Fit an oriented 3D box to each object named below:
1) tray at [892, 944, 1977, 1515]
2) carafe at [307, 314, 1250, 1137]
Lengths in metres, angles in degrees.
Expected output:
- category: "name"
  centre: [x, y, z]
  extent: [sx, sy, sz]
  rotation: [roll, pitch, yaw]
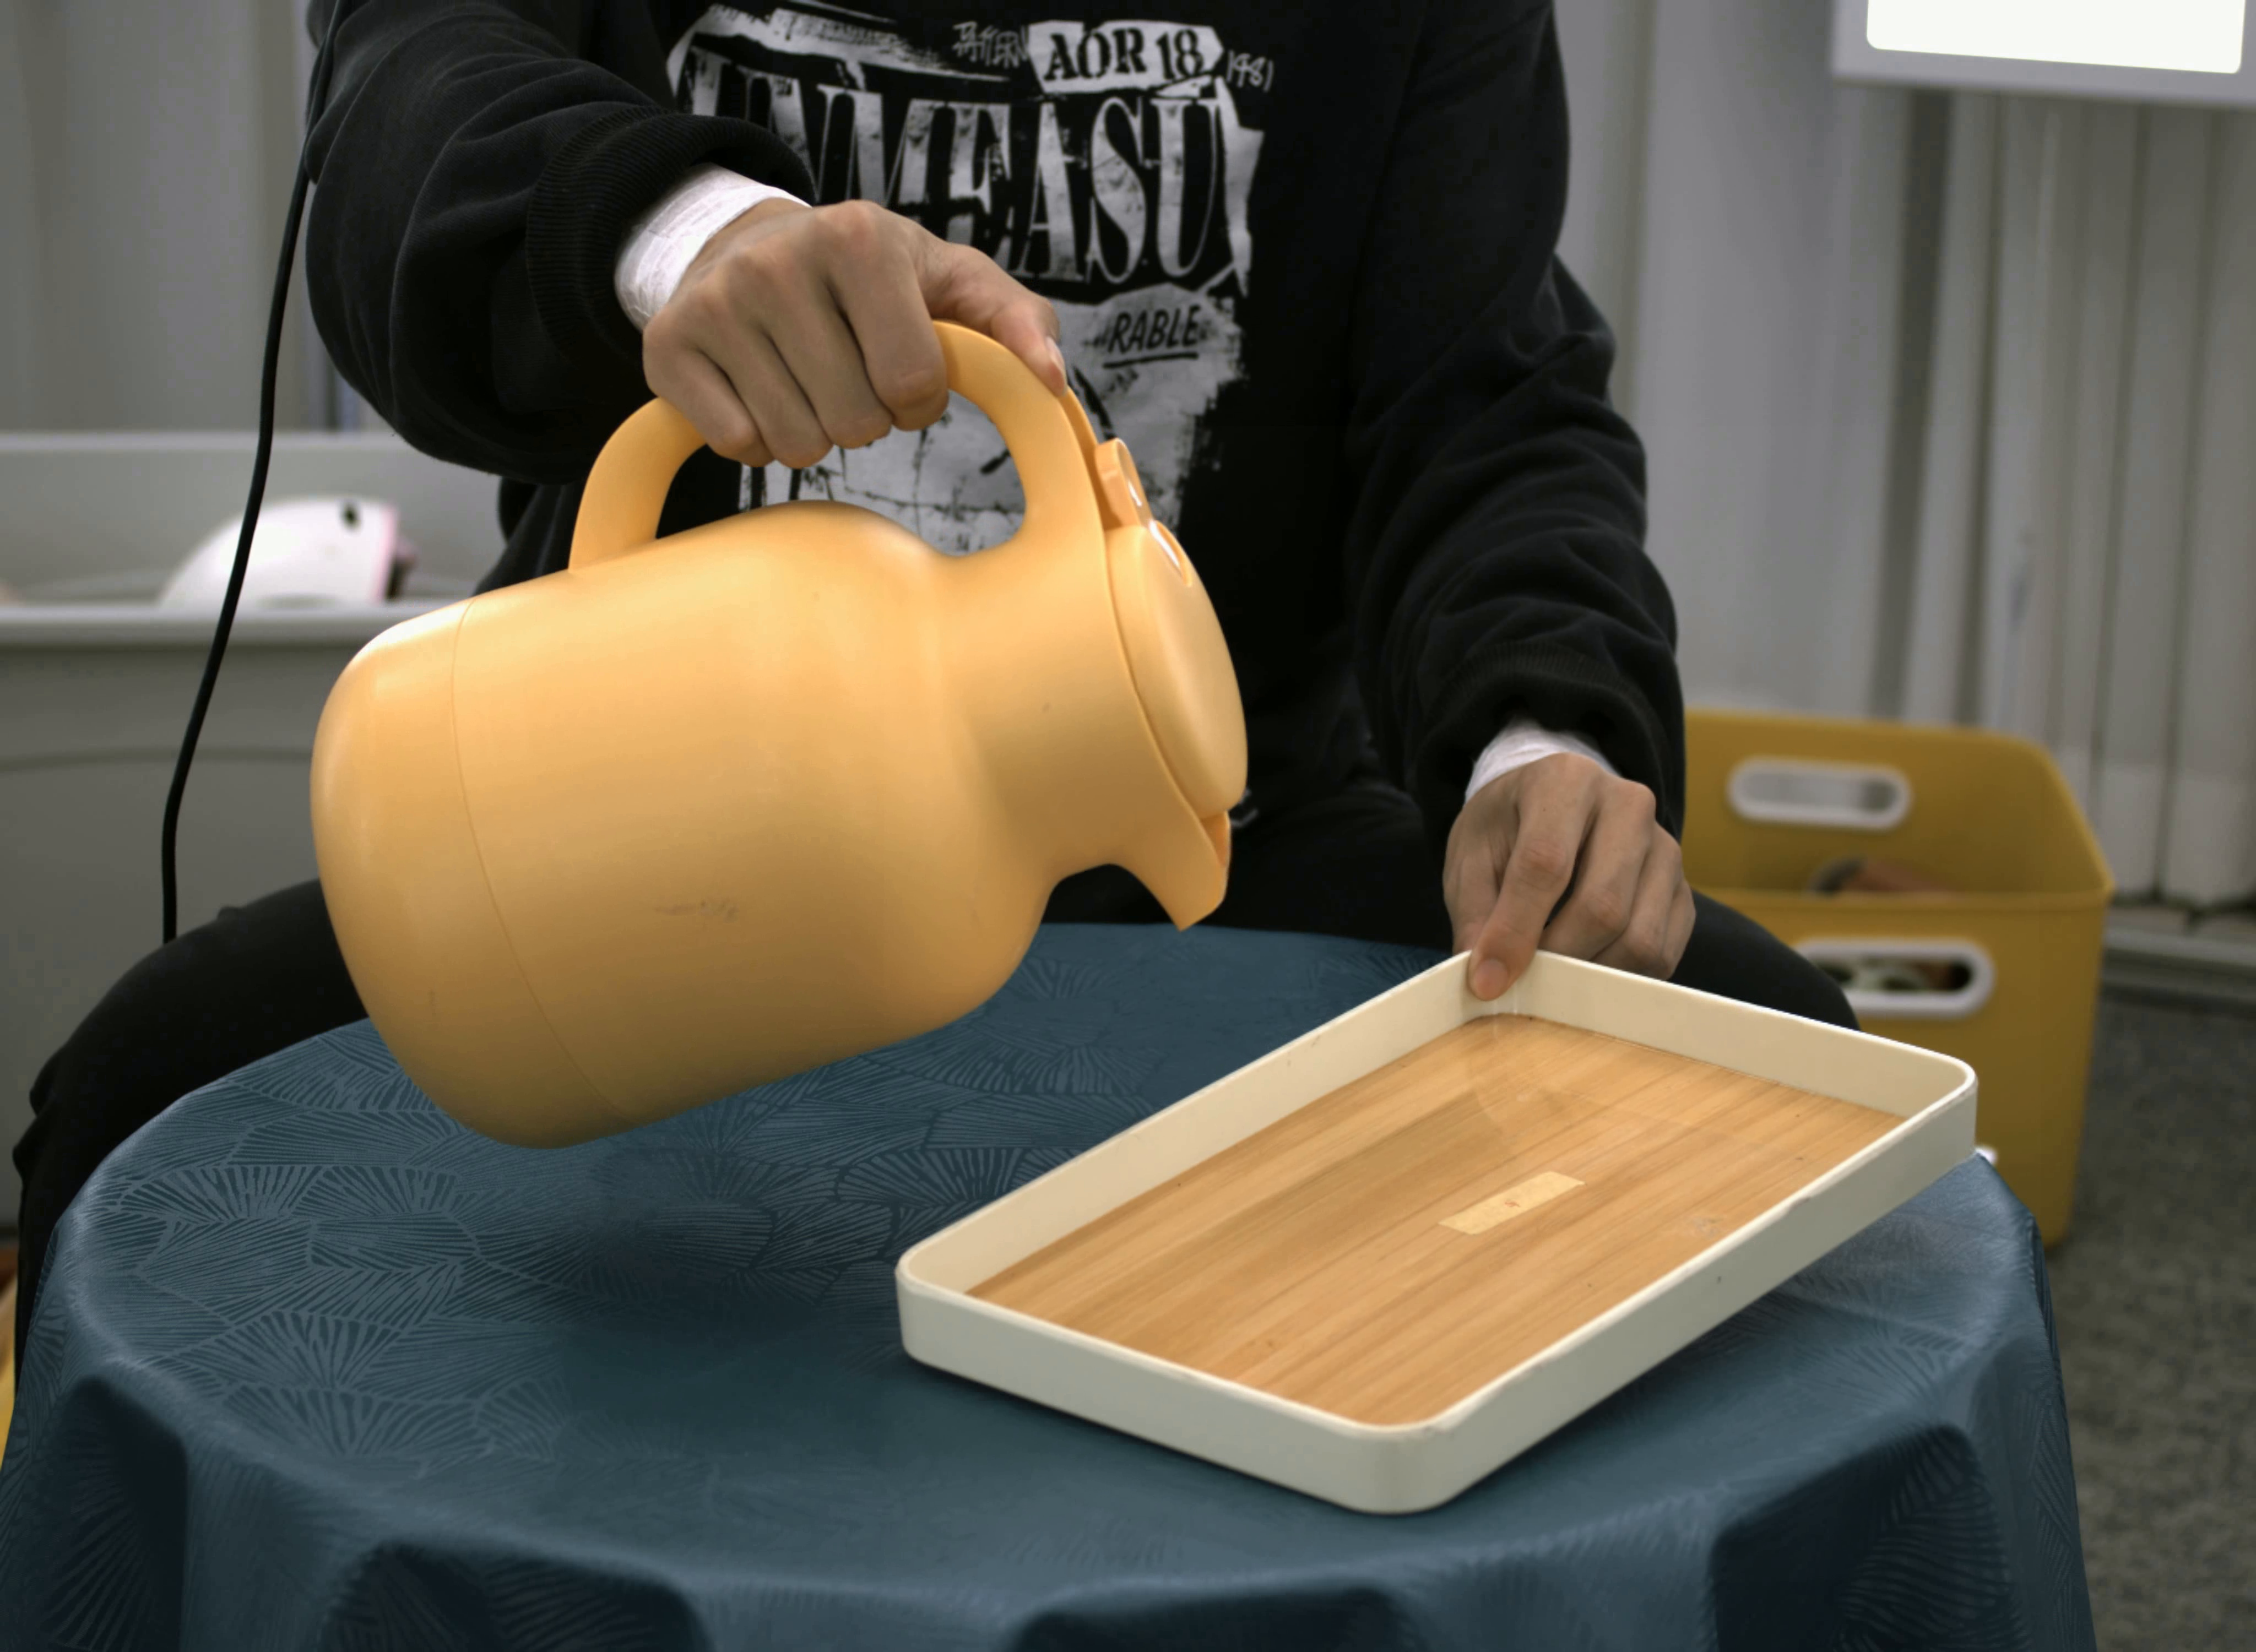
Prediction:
- category: "tray"
  centre: [0.094, 0.110, 1.527]
  extent: [0.189, 0.027, 0.301]
  rotation: [15, 26, 37]
- category: "carafe"
  centre: [-0.101, -0.033, 1.520]
  extent: [0.259, 0.203, 0.163]
  rotation: [-15, 1, 10]
